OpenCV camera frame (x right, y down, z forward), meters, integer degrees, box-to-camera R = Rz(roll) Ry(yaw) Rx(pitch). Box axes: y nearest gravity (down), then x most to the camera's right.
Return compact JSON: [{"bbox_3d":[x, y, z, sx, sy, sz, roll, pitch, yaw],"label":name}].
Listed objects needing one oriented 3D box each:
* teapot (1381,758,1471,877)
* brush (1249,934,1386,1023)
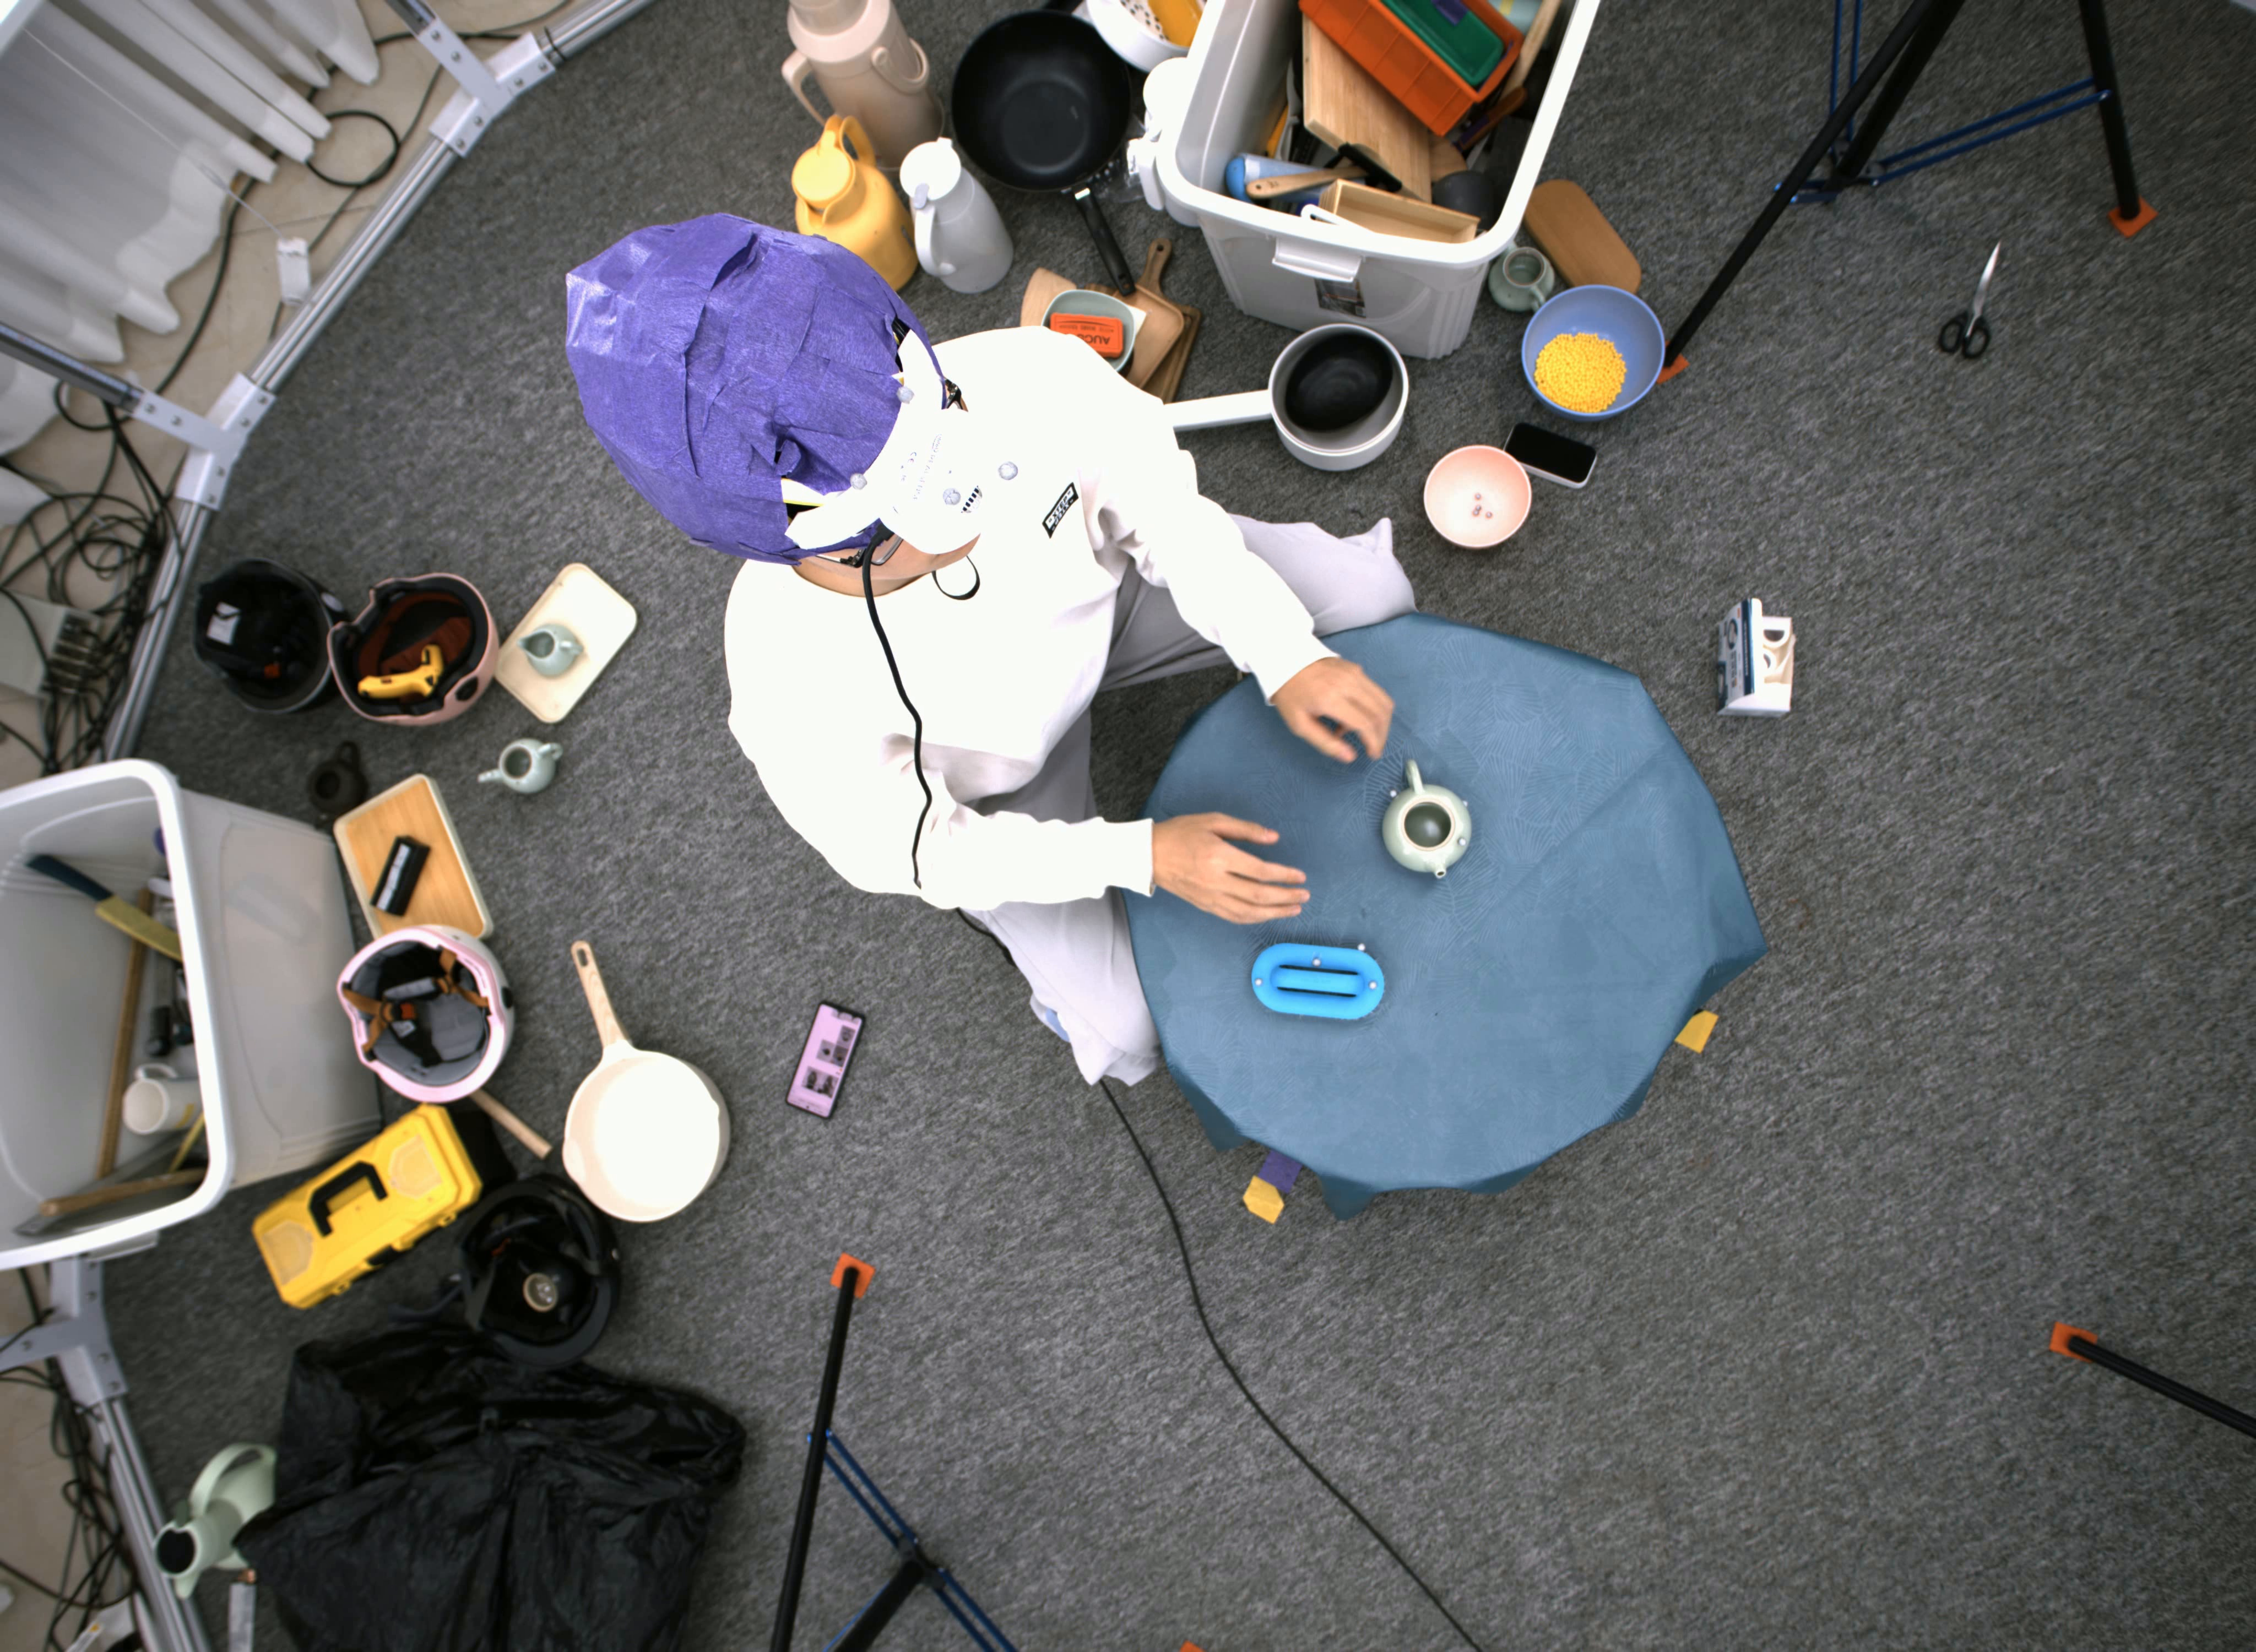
[{"bbox_3d":[0.307,-0.010,1.427,0.092,0.061,0.127,-10,83,12],"label":"teapot"},{"bbox_3d":[0.195,0.158,1.435,0.142,0.063,0.084,6,92,11],"label":"brush"}]
